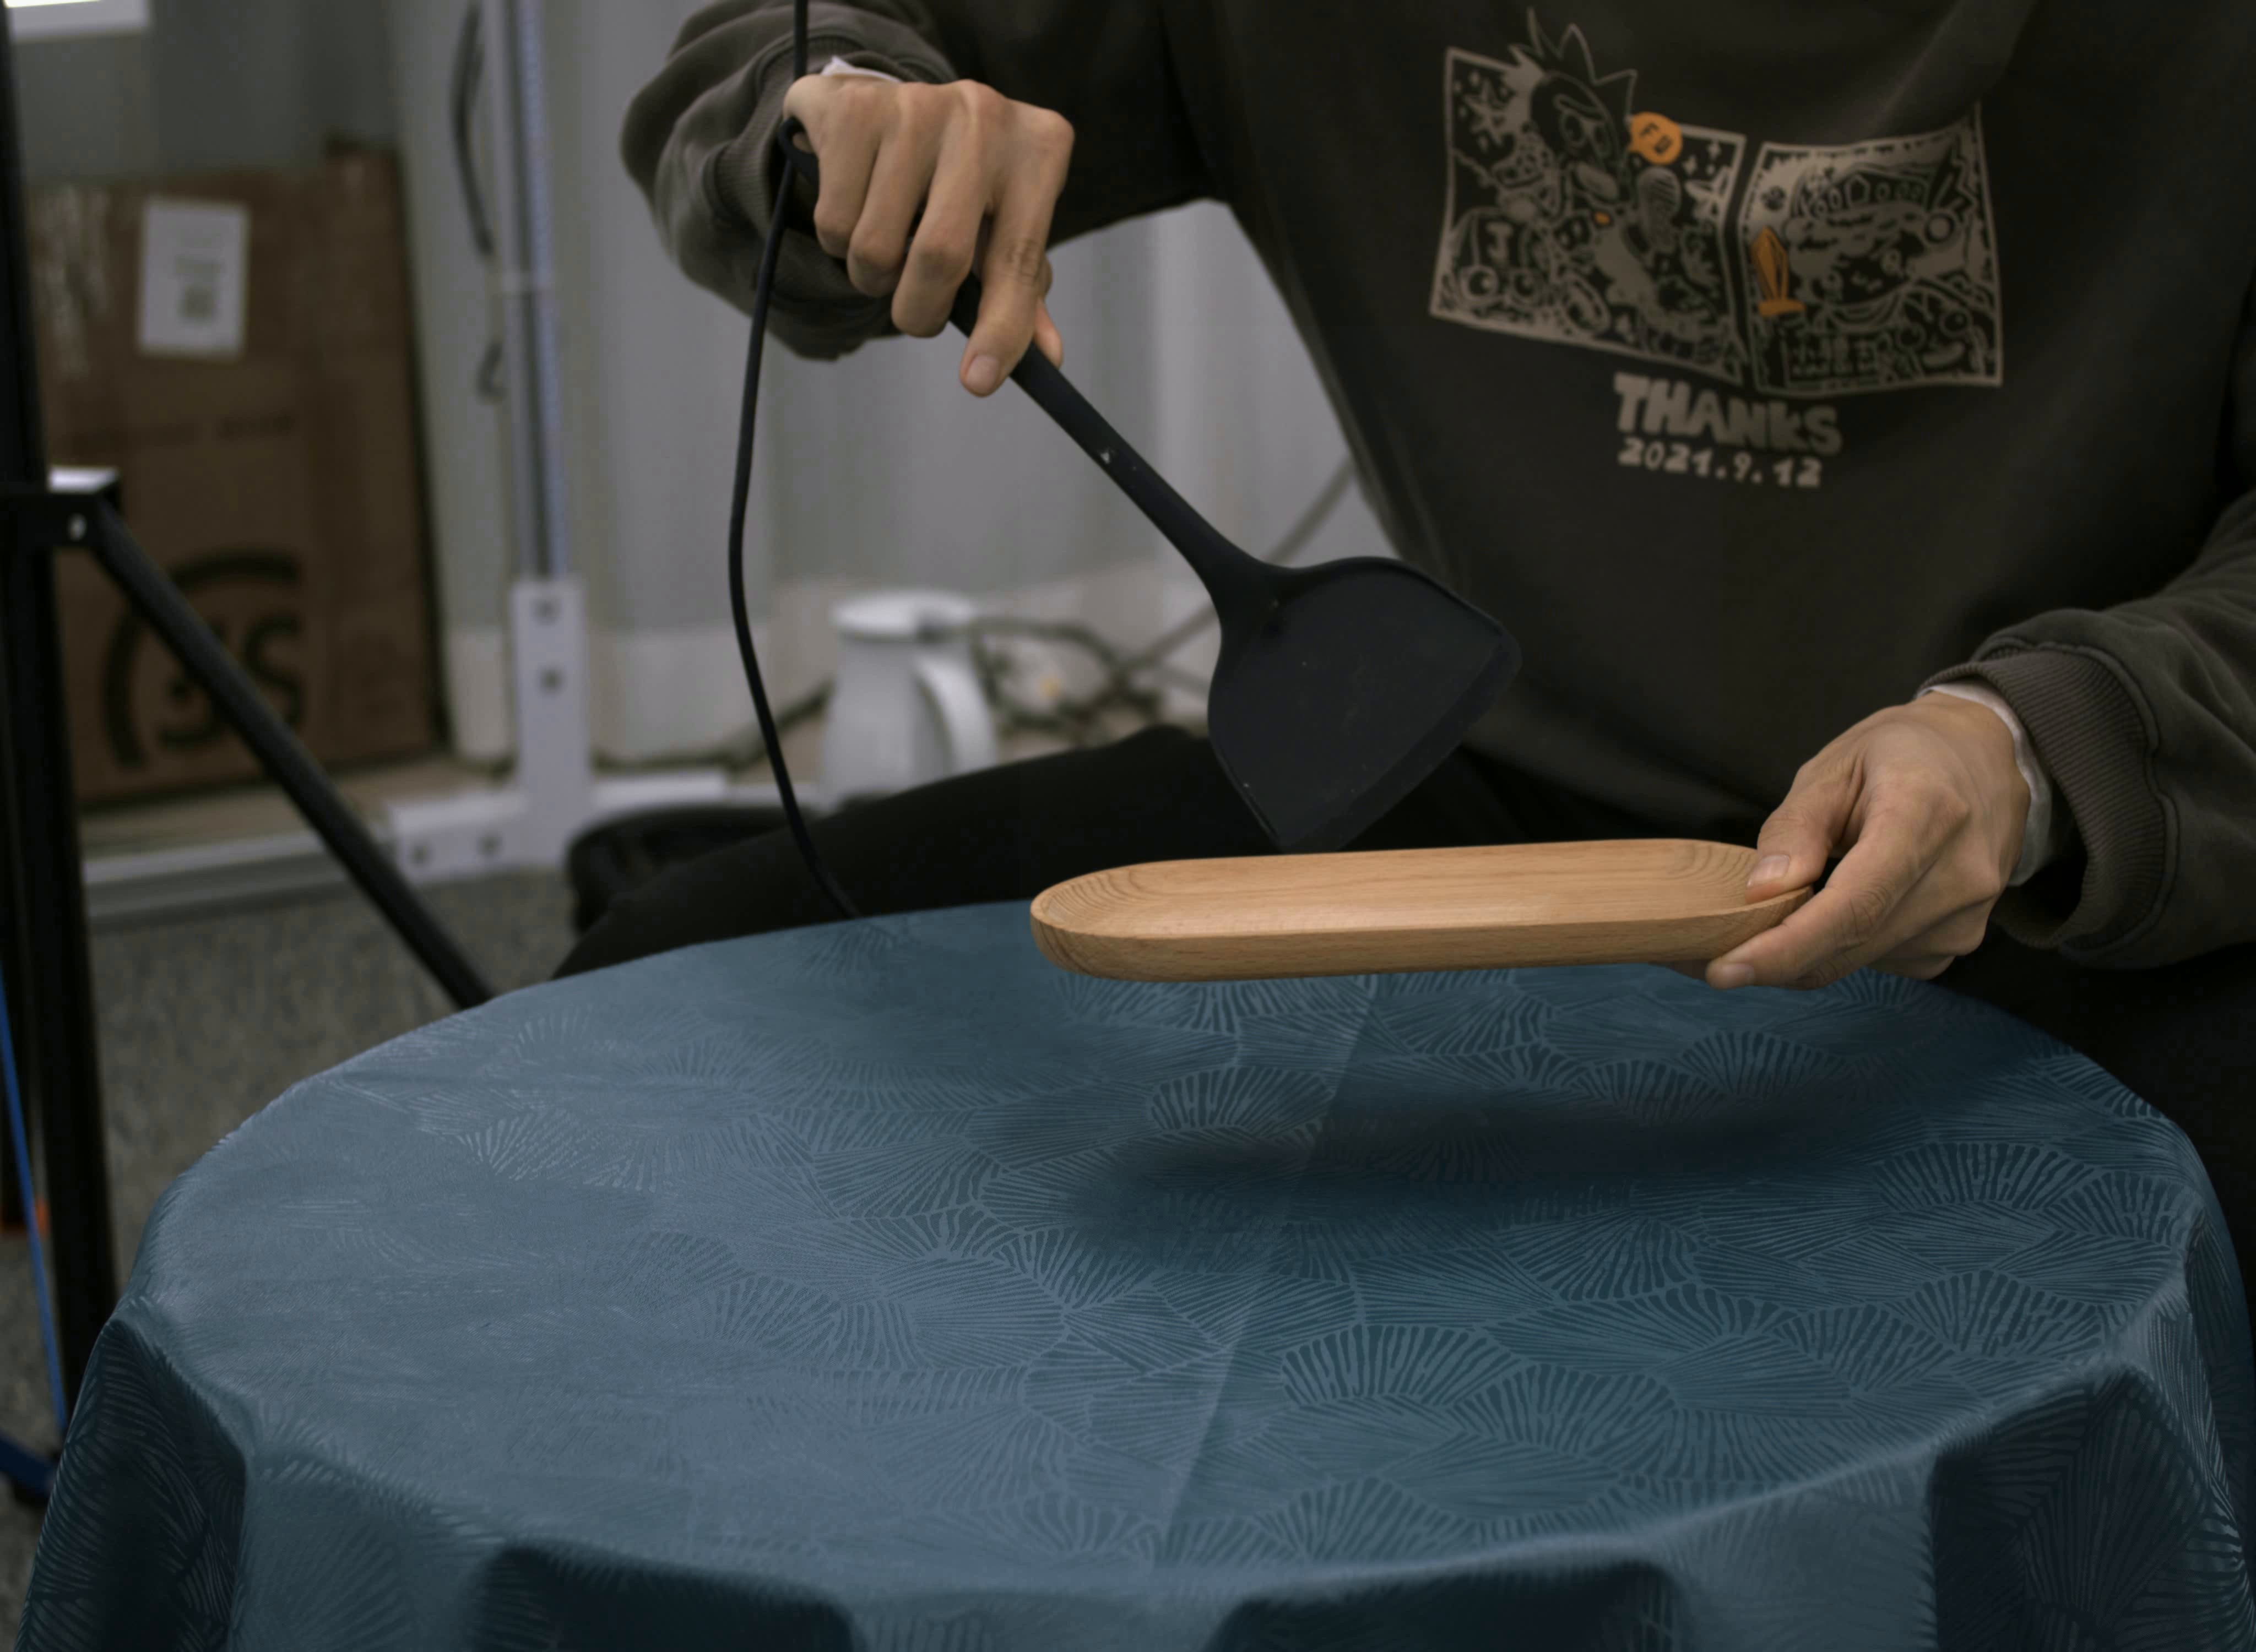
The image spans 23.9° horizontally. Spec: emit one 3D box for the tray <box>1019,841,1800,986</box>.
[{"bbox_3d":[0.083,0.027,1.568,0.230,0.020,0.102,-4,12,2],"label":"tray"}]

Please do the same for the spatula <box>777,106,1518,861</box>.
[{"bbox_3d":[-0.011,-0.125,1.702,0.331,0.099,0.040,47,0,20],"label":"spatula"}]
